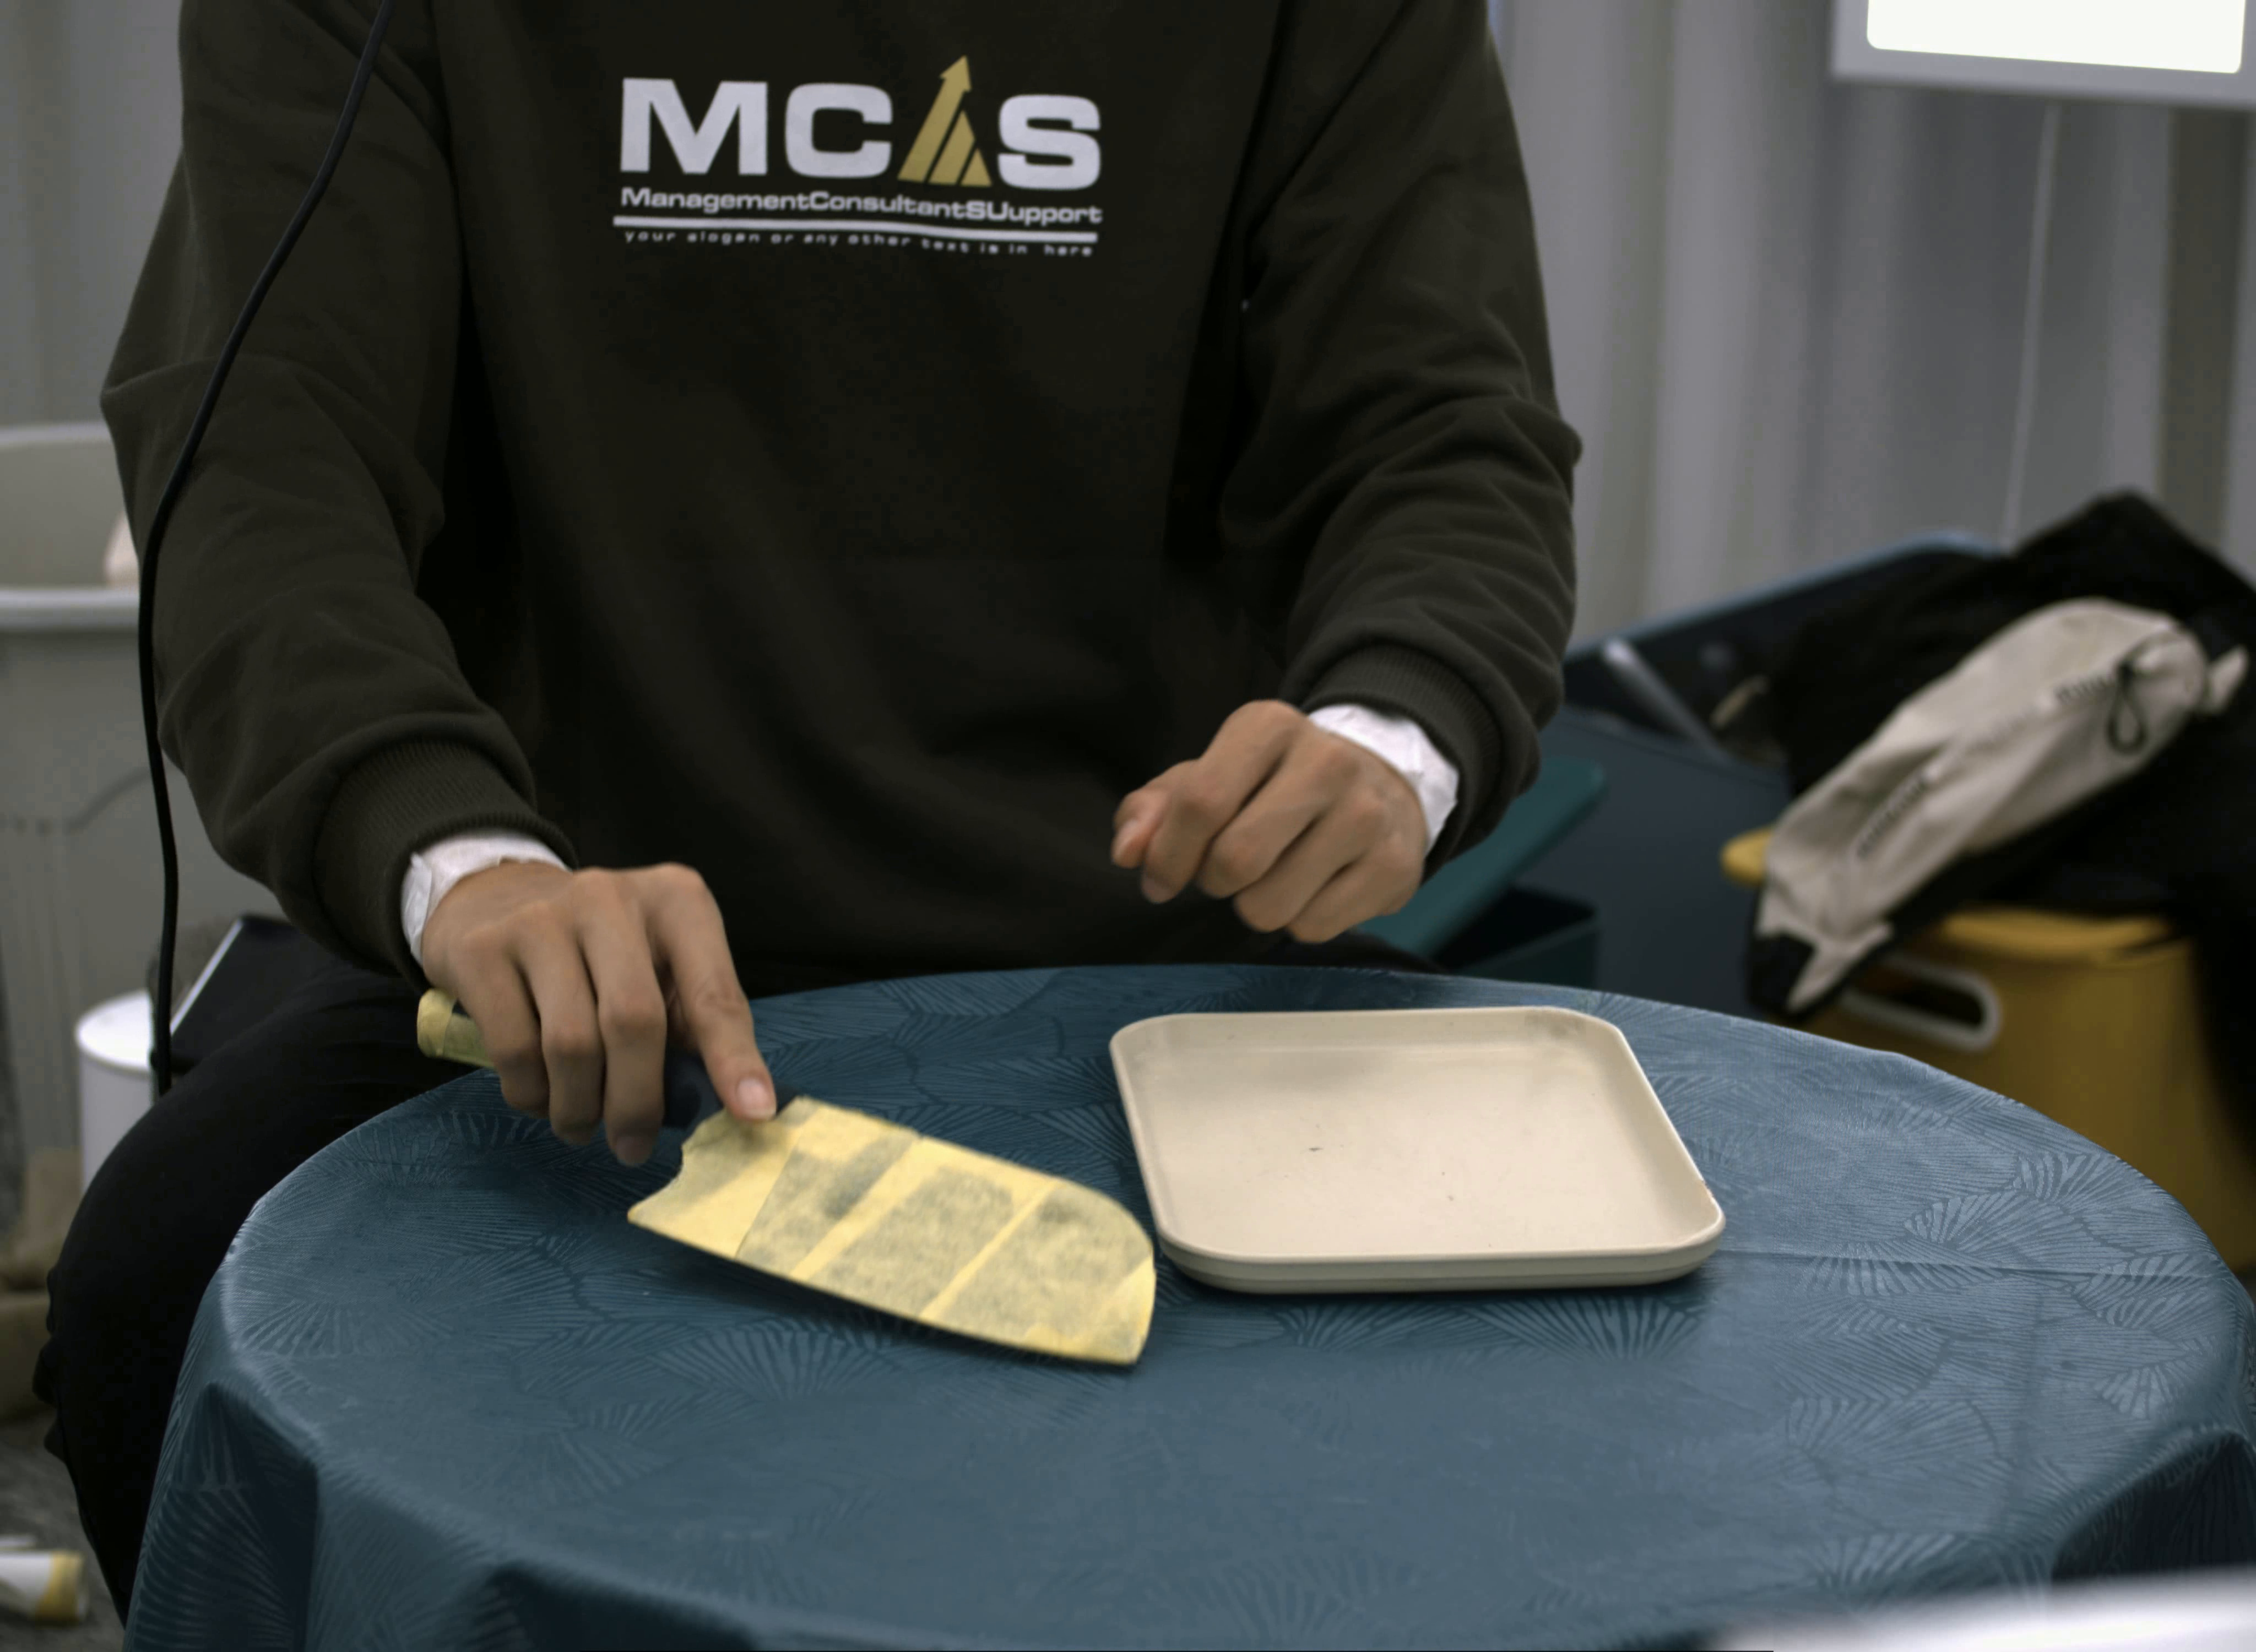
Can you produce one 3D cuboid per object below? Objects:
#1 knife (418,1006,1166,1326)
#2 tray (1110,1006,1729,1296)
[{"bbox_3d":[-0.108,0.100,1.557,0.286,0.027,0.081,15,38,32],"label":"knife"},{"bbox_3d":[0.086,0.100,1.640,0.171,0.017,0.238,-1,15,-5],"label":"tray"}]
